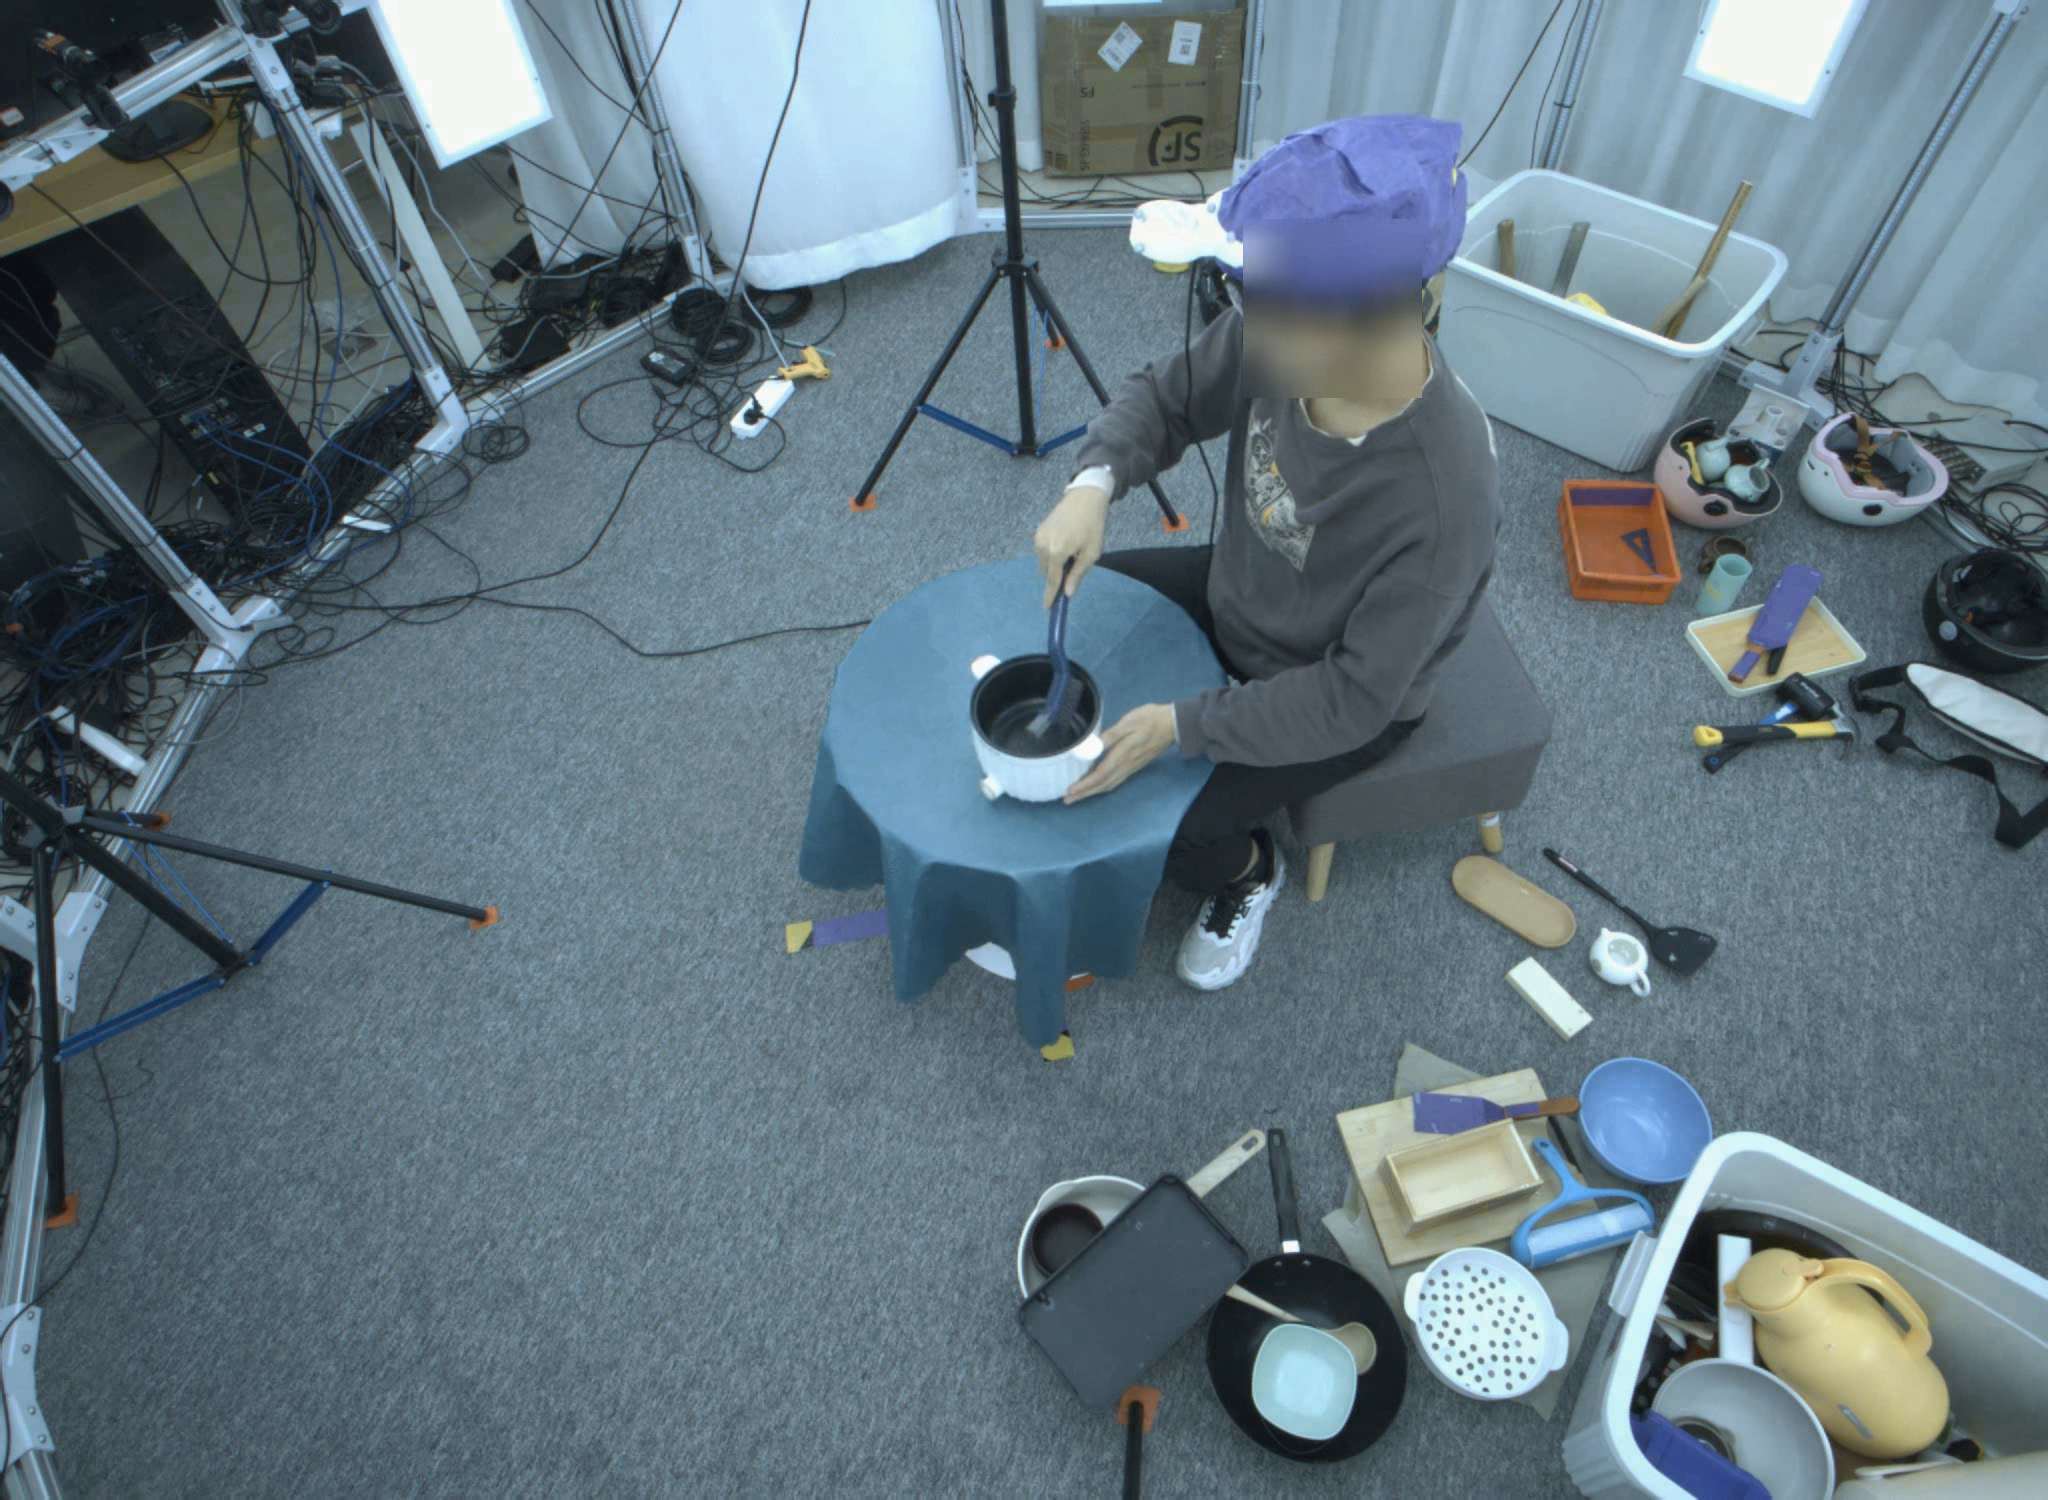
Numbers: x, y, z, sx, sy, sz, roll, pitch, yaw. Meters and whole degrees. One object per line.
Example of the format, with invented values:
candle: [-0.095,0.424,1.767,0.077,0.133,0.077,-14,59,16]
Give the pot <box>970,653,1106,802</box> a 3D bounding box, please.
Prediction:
pot: [0.017,-0.019,1.711,0.192,0.144,0.236,-37,59,-26]

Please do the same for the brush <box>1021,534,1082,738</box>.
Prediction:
brush: [0.041,-0.155,1.666,0.097,0.274,0.033,-6,10,-35]
